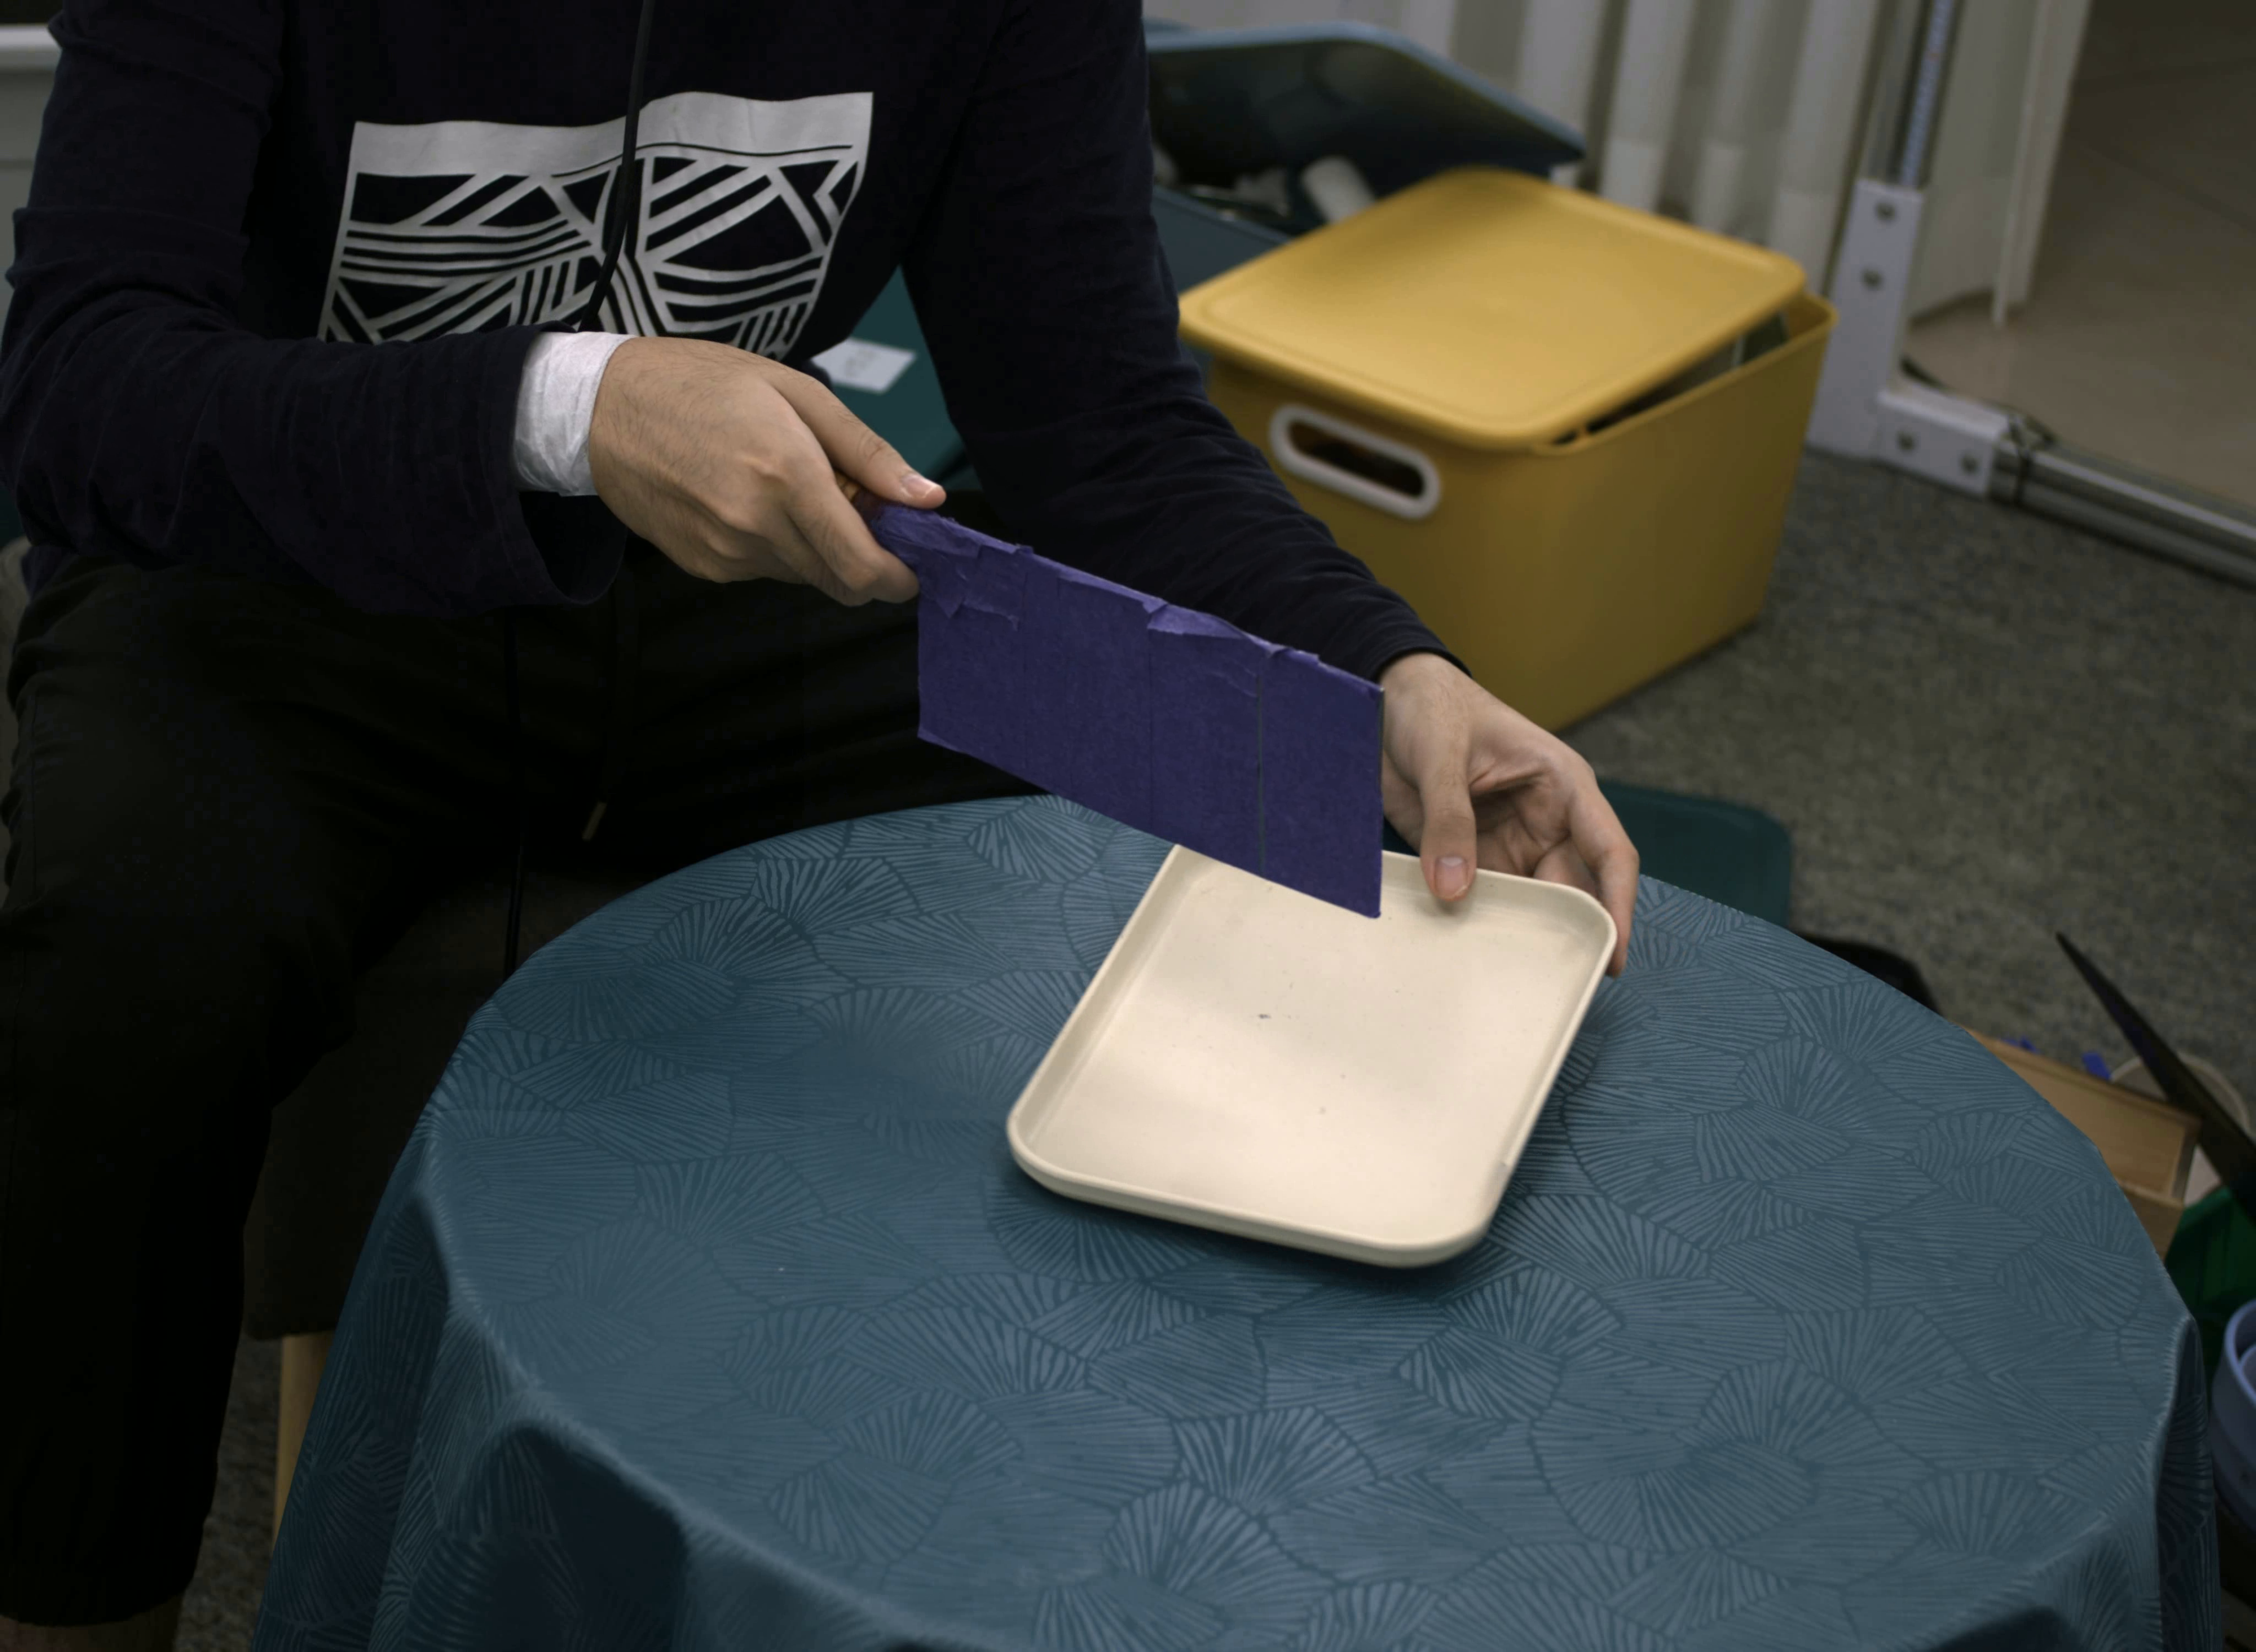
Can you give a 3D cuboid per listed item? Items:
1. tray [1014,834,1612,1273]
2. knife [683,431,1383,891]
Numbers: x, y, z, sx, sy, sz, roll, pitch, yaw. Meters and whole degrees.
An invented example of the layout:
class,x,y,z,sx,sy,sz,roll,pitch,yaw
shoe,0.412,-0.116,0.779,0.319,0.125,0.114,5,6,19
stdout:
class,x,y,z,sx,sy,sz,roll,pitch,yaw
tray,0.068,0.077,1.868,0.171,0.017,0.240,11,33,14
knife,-0.037,-0.055,1.846,0.317,0.103,0.032,23,34,38
